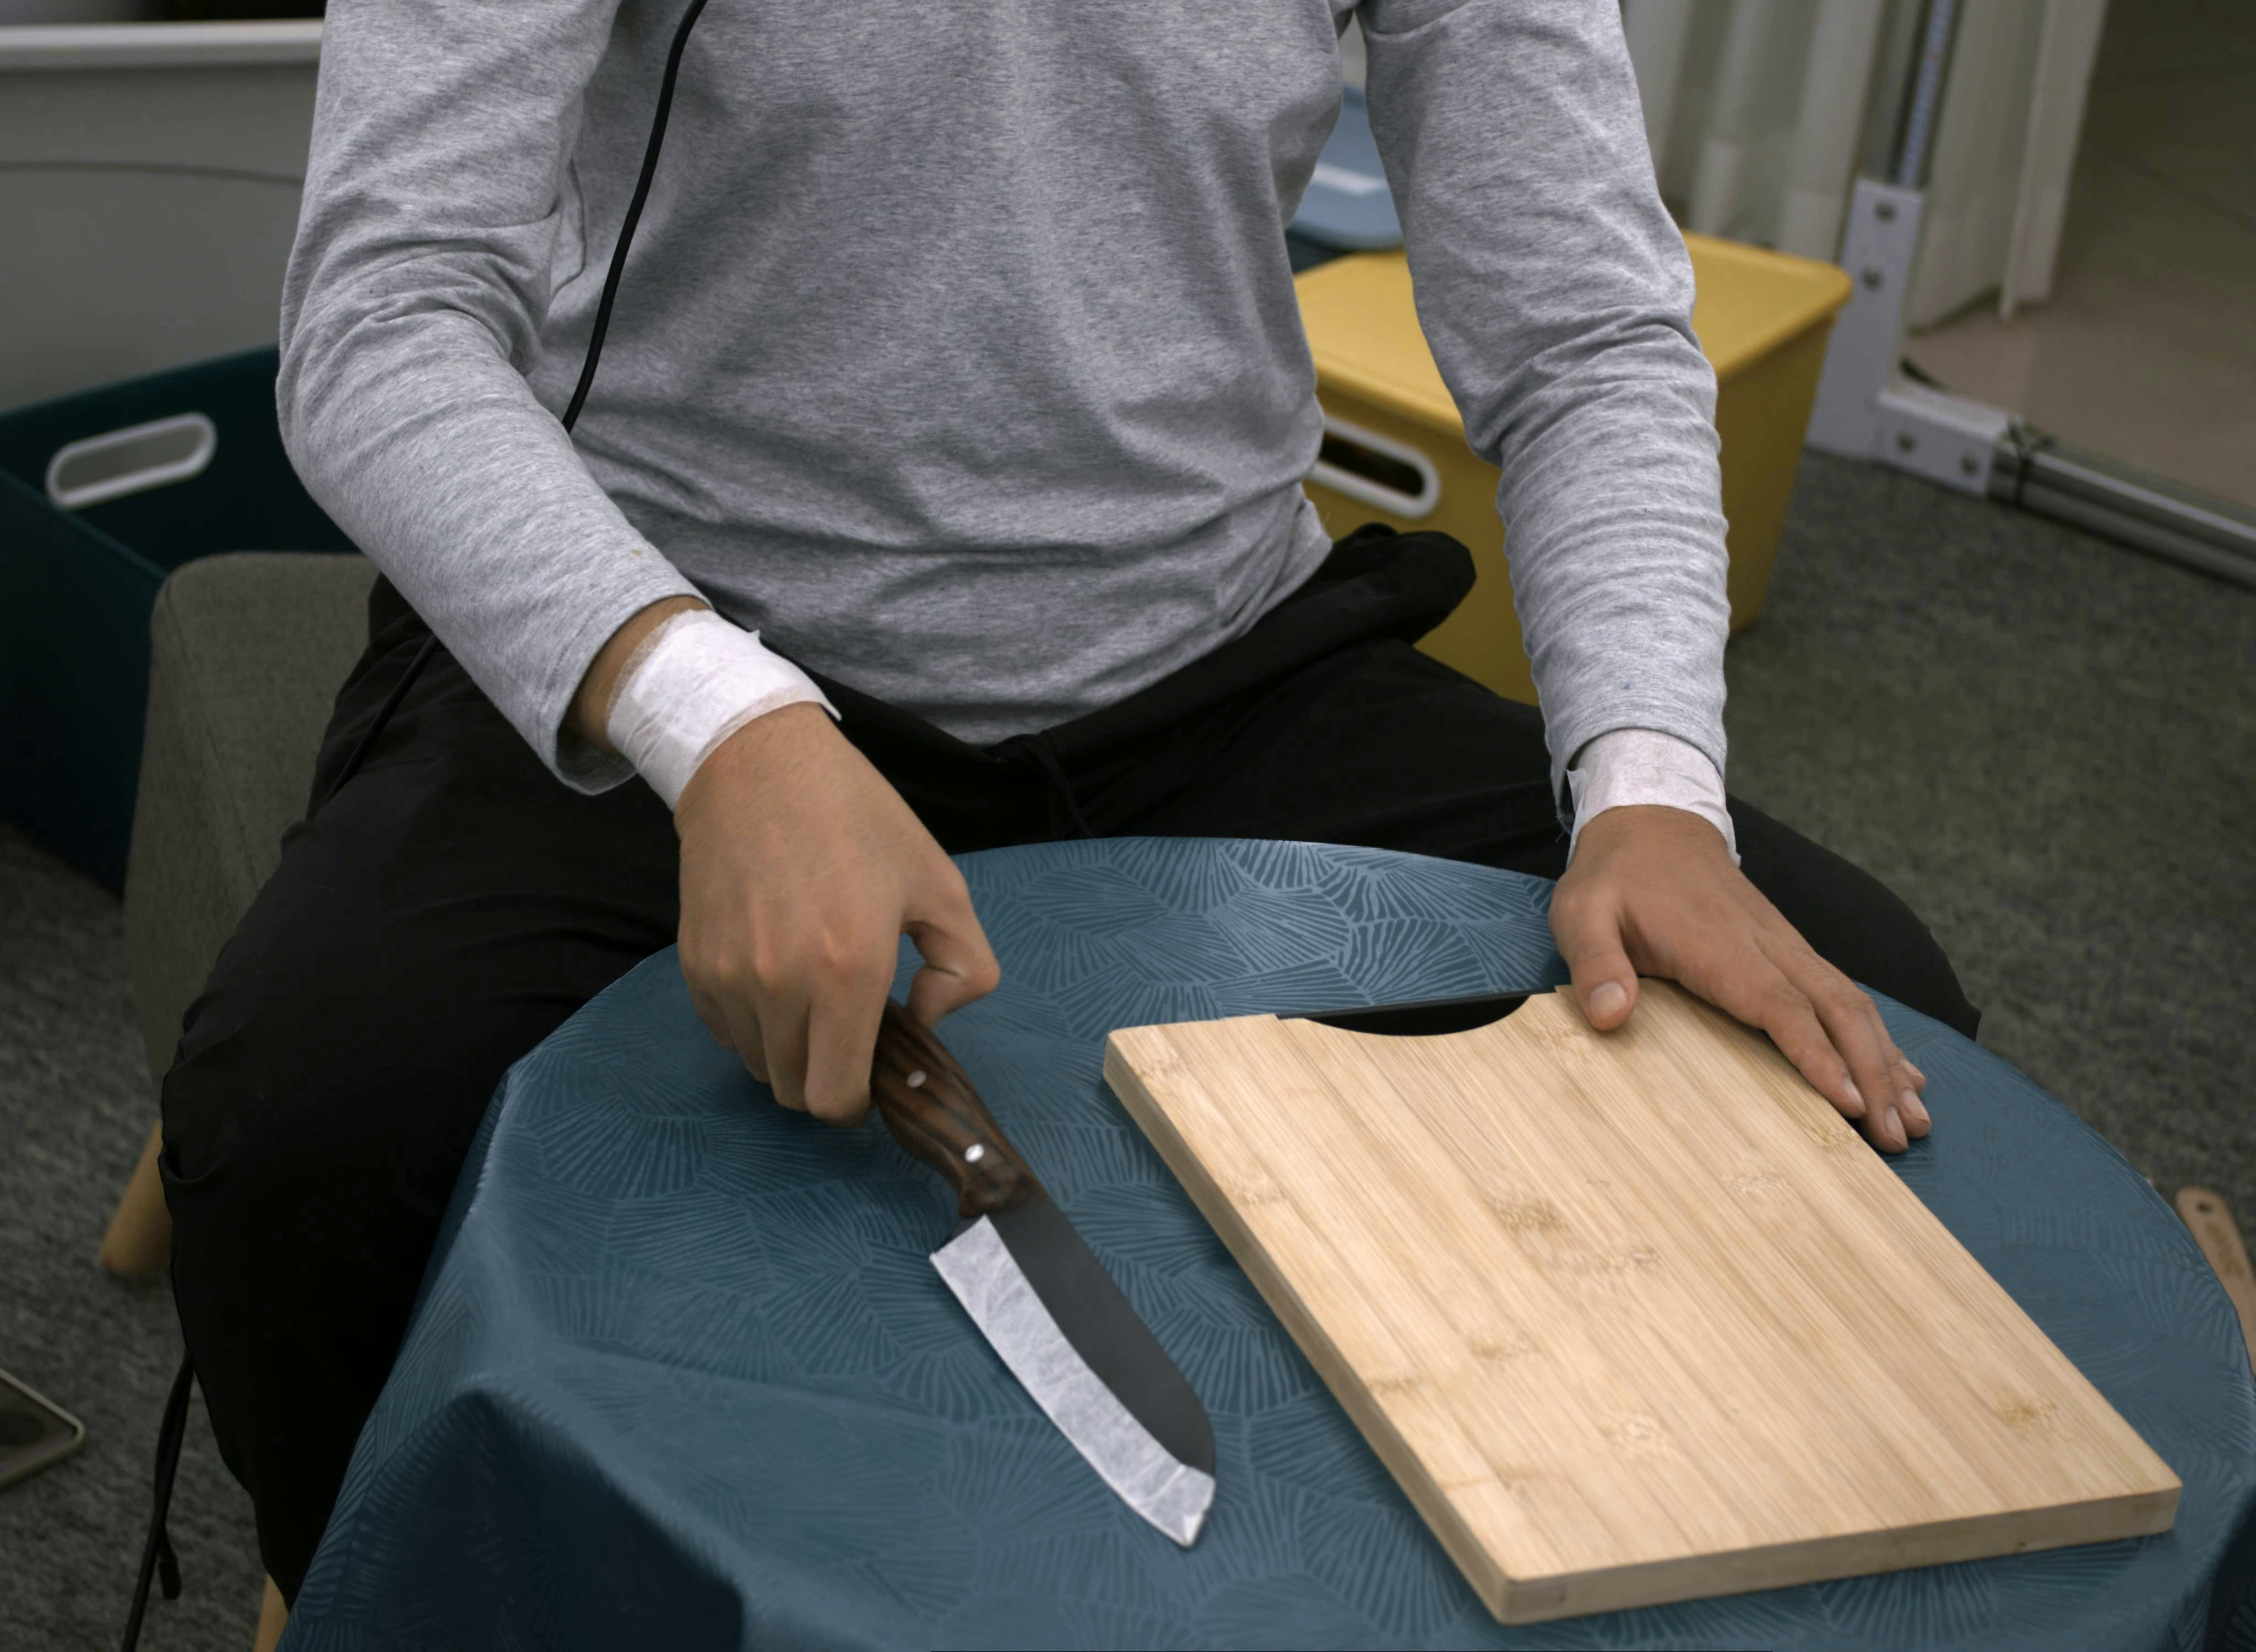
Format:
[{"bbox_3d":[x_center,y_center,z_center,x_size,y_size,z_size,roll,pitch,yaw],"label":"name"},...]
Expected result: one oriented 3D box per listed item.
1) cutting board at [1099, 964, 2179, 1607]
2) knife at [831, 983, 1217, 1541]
[{"bbox_3d":[0.161,0.146,1.781,0.249,0.023,0.352,-5,29,-22],"label":"cutting board"},{"bbox_3d":[-0.036,0.138,1.727,0.050,0.020,0.292,-36,41,0],"label":"knife"}]
